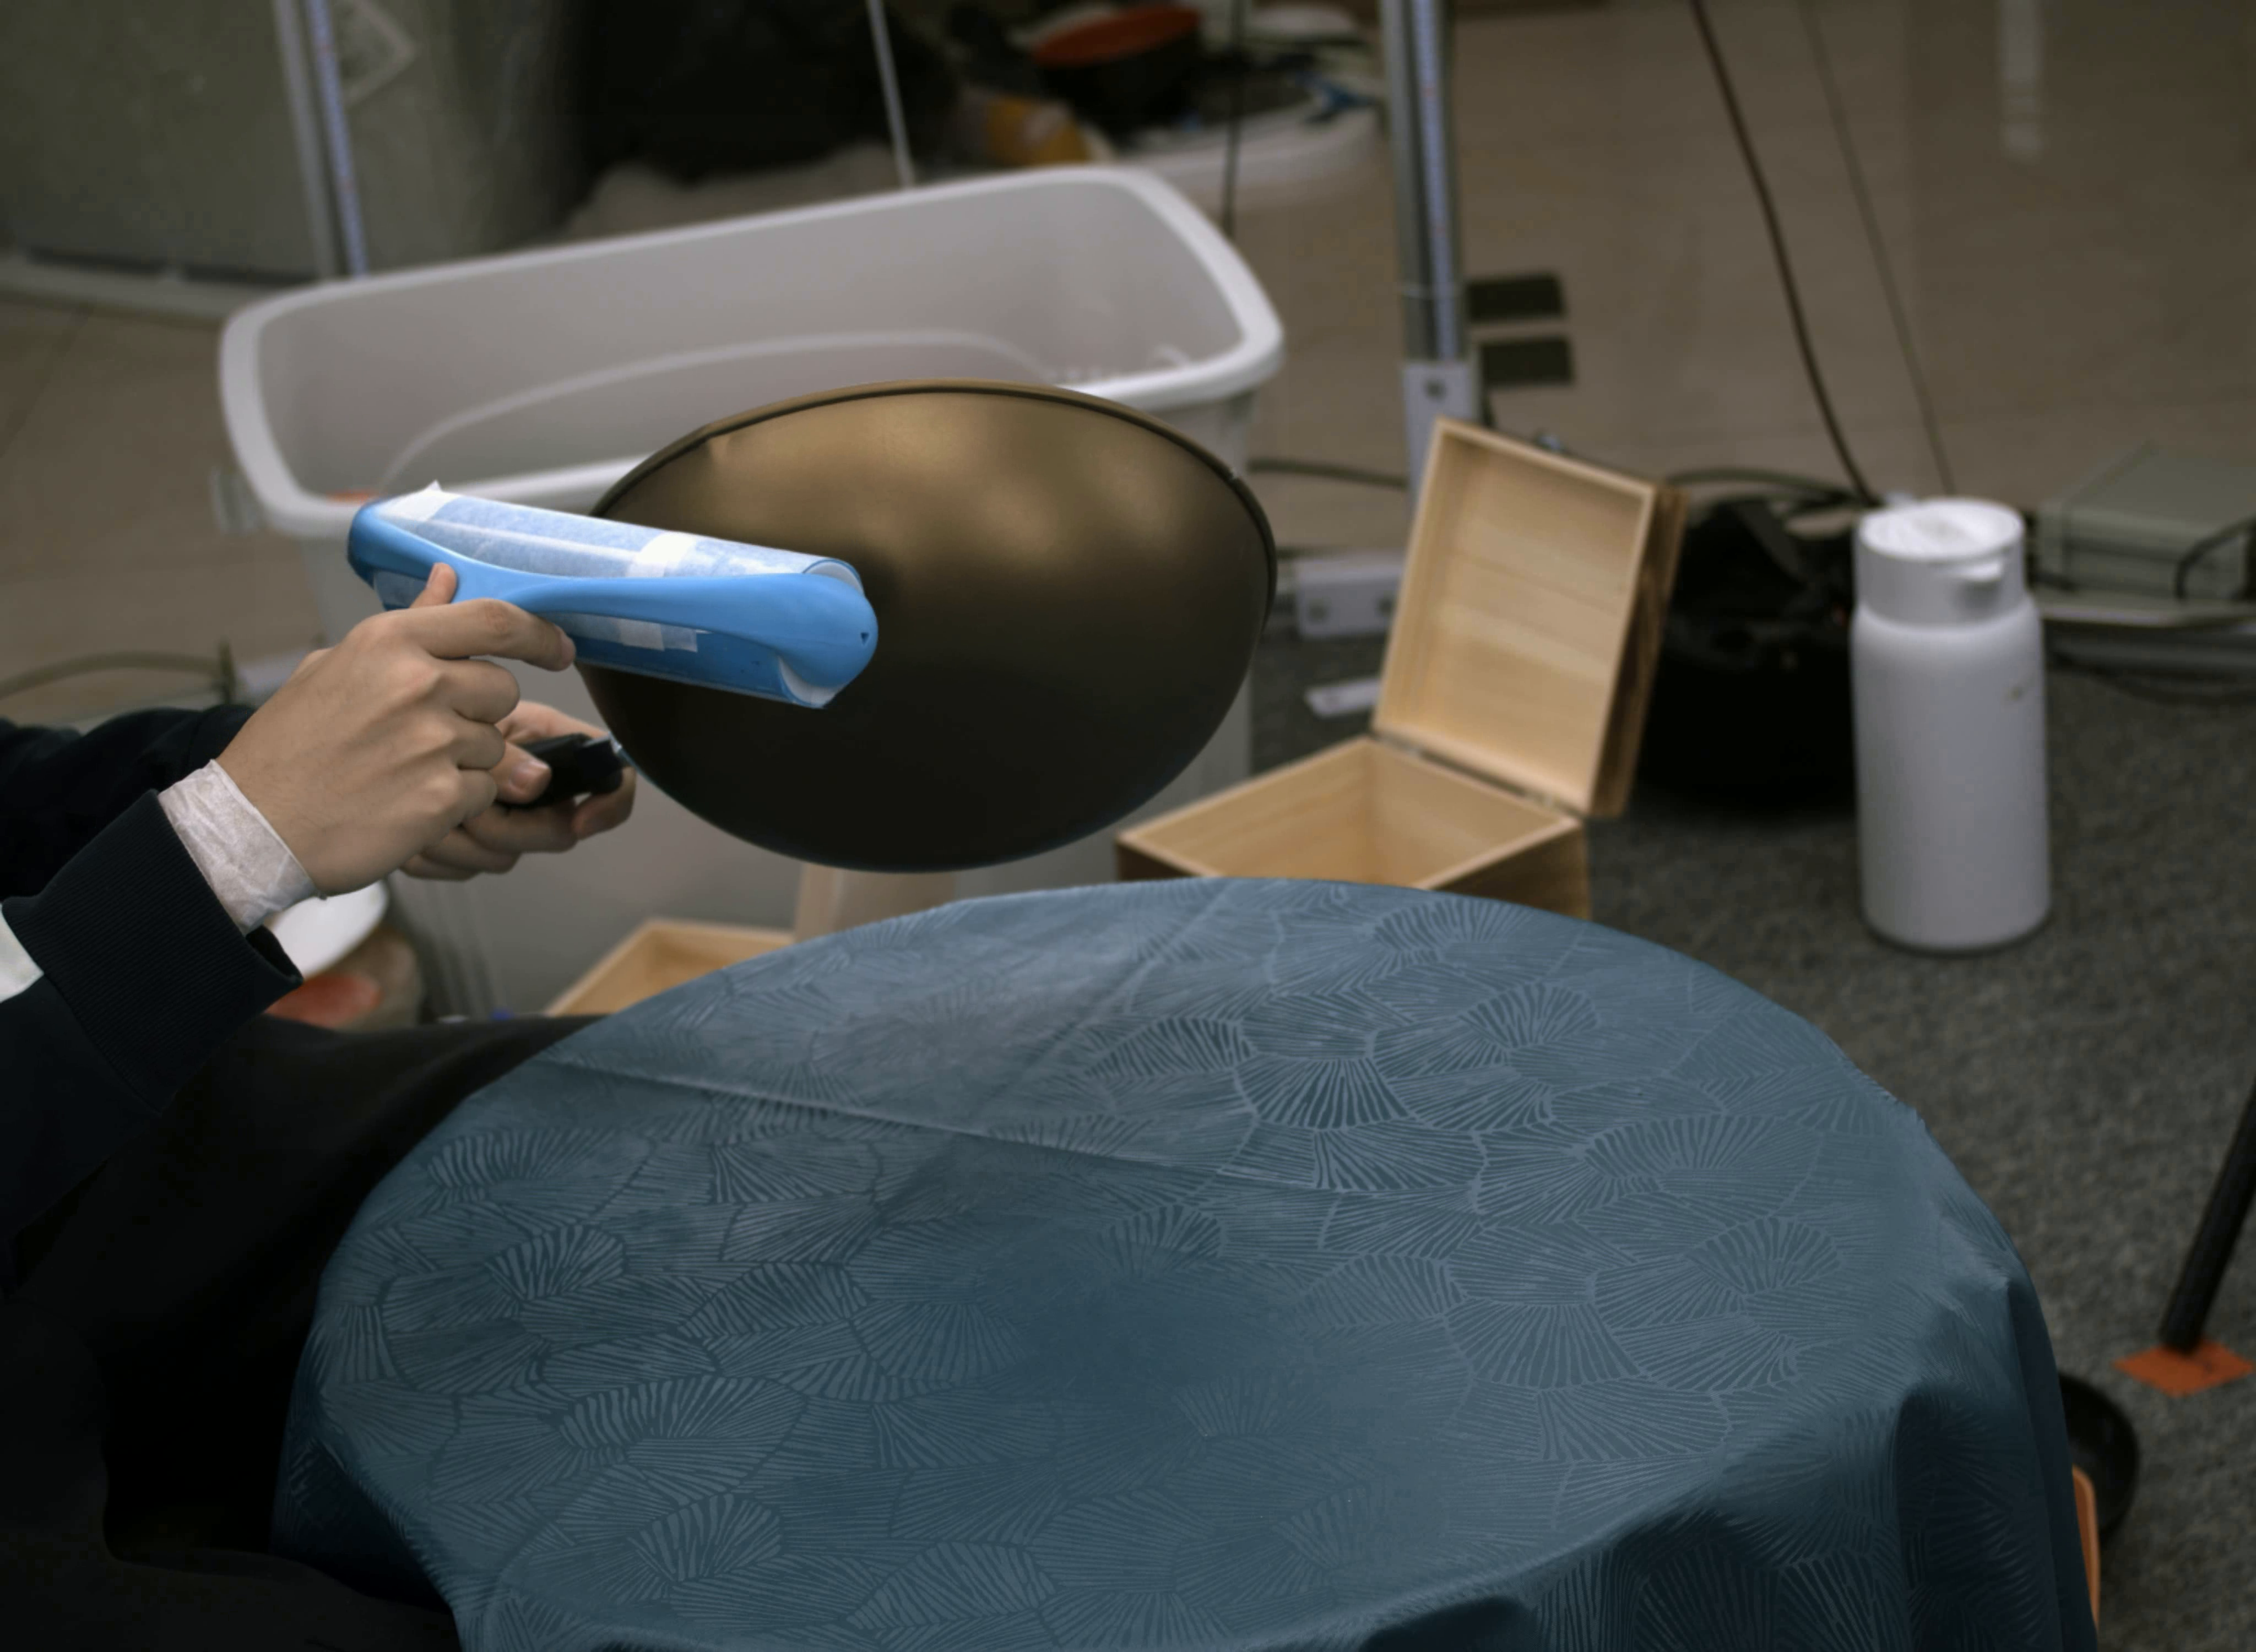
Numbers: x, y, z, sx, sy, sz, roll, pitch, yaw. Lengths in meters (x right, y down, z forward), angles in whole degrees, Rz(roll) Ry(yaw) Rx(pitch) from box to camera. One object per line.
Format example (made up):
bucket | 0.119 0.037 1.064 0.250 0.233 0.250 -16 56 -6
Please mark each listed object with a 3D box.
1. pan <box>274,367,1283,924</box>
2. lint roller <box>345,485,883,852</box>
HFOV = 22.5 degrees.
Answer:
pan | -0.153 -0.026 2.187 0.465 0.291 0.085 -23 54 26
lint roller | -0.216 -0.060 2.012 0.228 0.069 0.178 11 34 30
